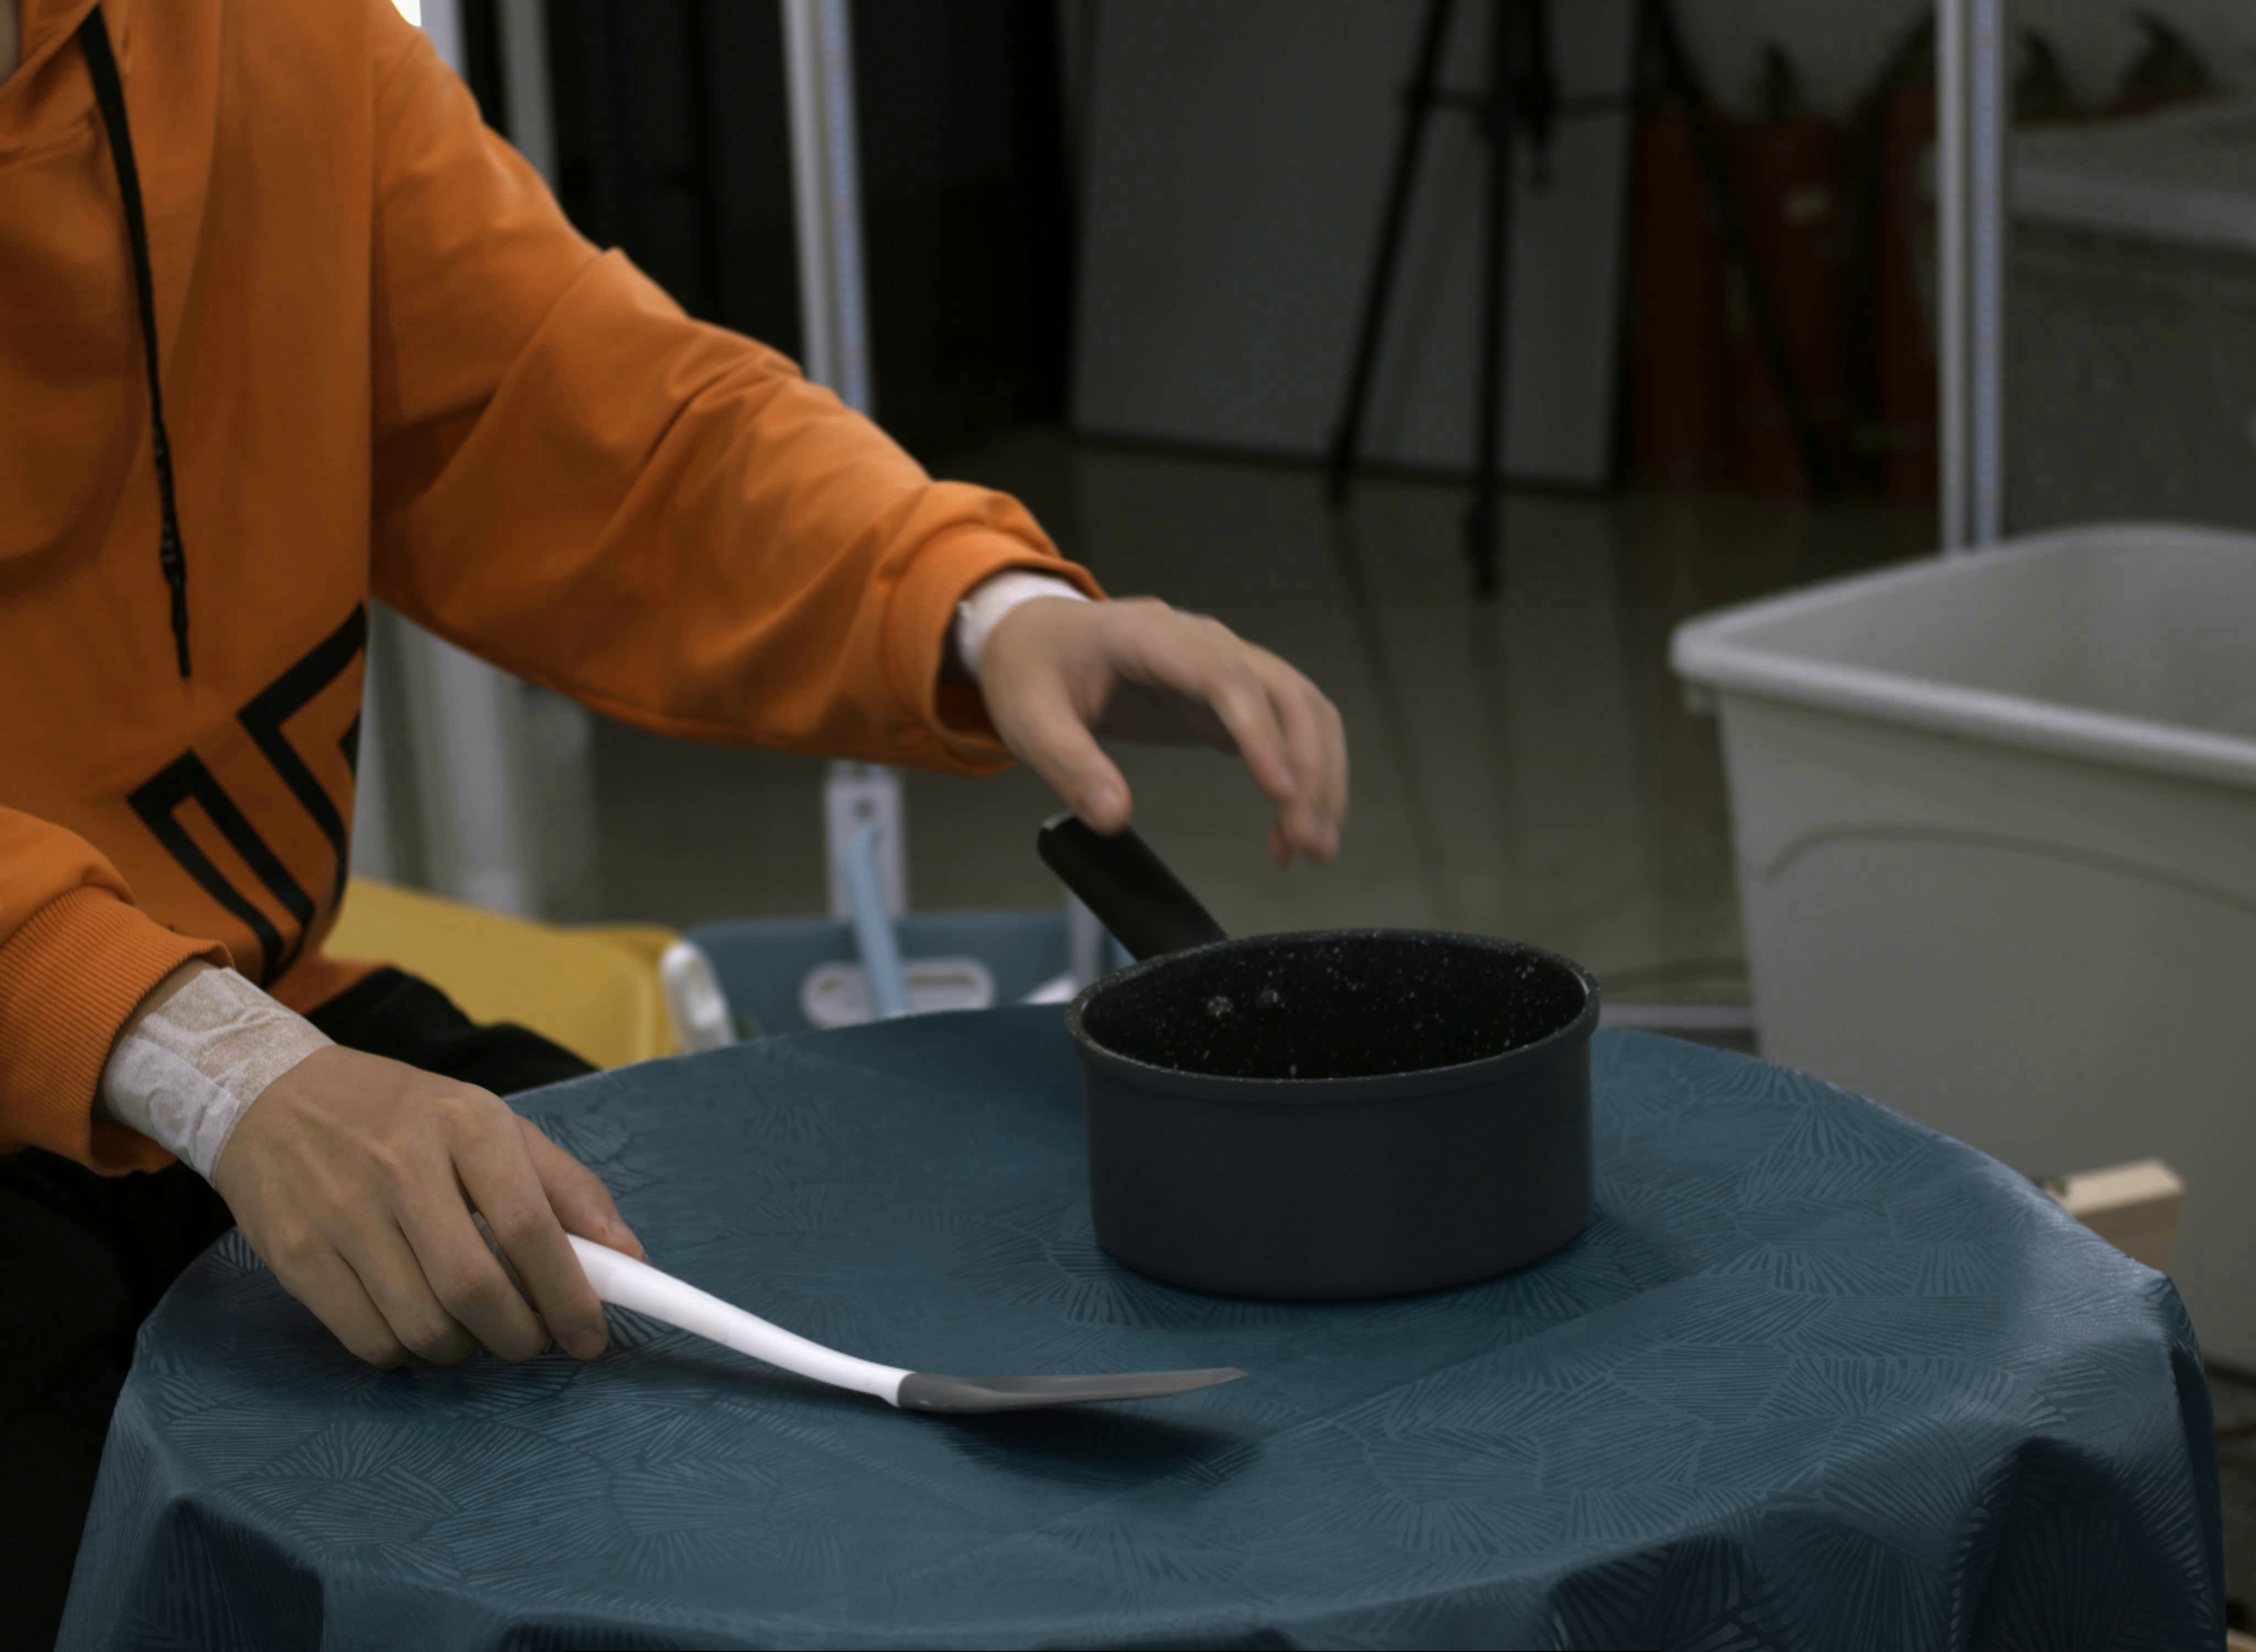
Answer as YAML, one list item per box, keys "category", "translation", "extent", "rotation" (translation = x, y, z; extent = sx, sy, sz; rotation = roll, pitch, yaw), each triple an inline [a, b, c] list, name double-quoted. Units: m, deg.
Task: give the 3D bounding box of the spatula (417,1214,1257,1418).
- category: "spatula"
  translation: [-0.092, 0.151, 1.600]
  extent: [0.289, 0.032, 0.057]
  rotation: [7, 3, 34]

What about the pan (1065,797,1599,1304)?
- category: "pan"
  translation: [0.043, 0.070, 1.787]
  extent: [0.168, 0.087, 0.331]
  rotation: [-7, 16, -16]
